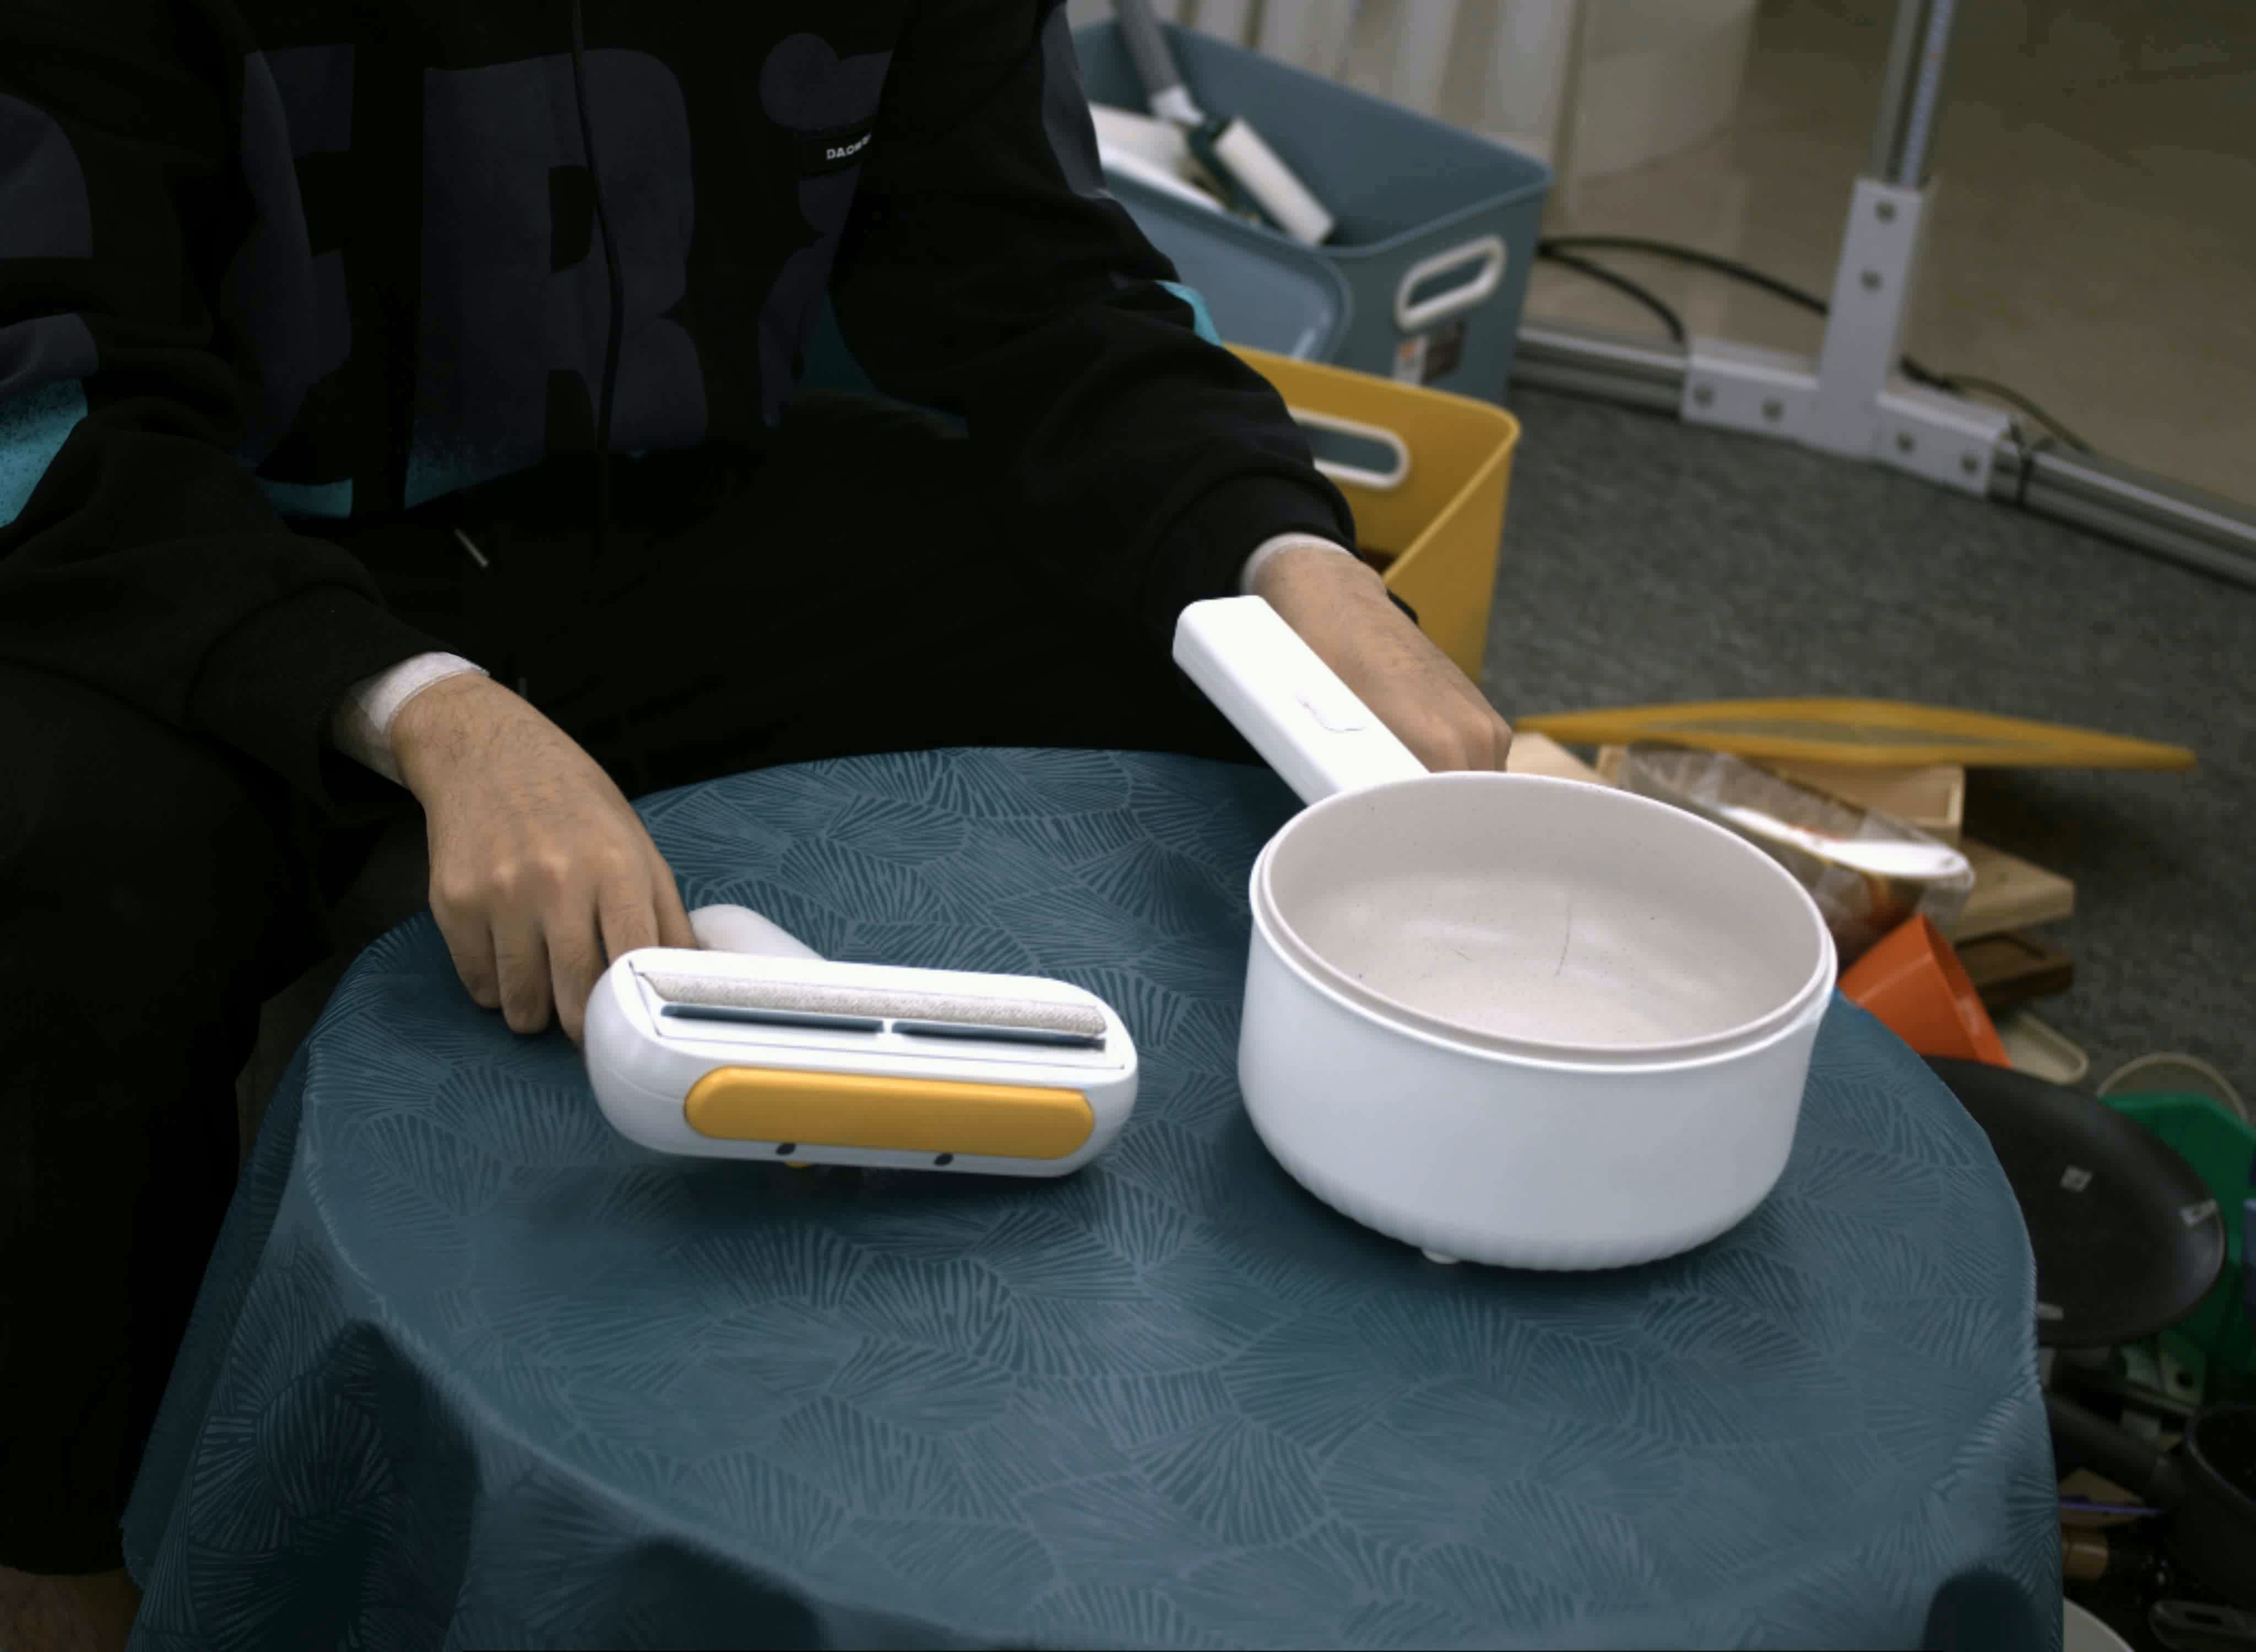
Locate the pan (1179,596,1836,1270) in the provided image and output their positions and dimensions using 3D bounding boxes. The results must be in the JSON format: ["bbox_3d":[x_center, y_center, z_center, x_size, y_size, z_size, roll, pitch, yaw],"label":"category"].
[{"bbox_3d":[0.104,0.035,1.883,0.200,0.102,0.358,-7,29,-24],"label":"pan"}]

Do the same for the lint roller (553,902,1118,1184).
[{"bbox_3d":[-0.114,0.060,1.824,0.191,0.074,0.194,3,25,-20],"label":"lint roller"}]
